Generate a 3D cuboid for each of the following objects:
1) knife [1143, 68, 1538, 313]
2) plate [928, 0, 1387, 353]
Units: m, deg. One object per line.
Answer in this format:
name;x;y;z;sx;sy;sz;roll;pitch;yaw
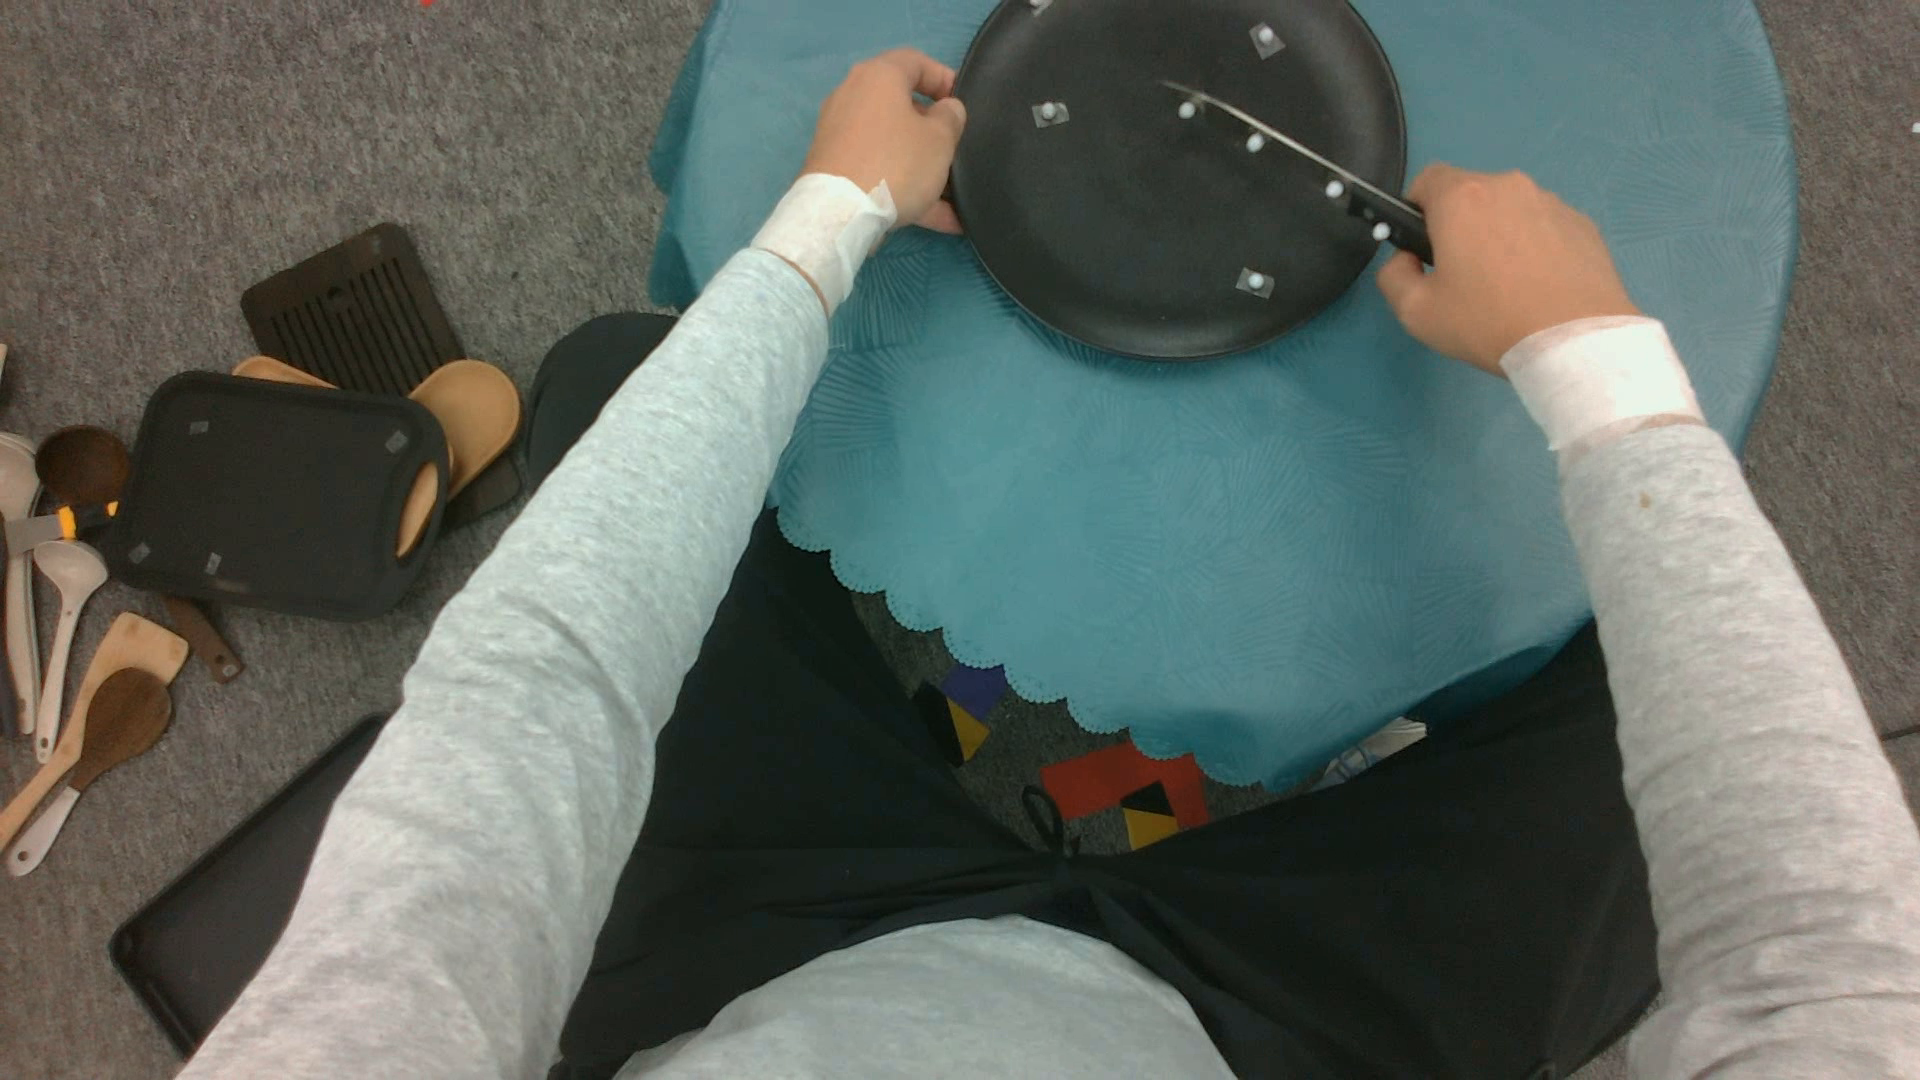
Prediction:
knife;0.182;-0.182;0.684;0.238;0.024;0.016;39;66;23
plate;0.105;-0.215;0.740;0.244;0.023;0.245;0;79;1
